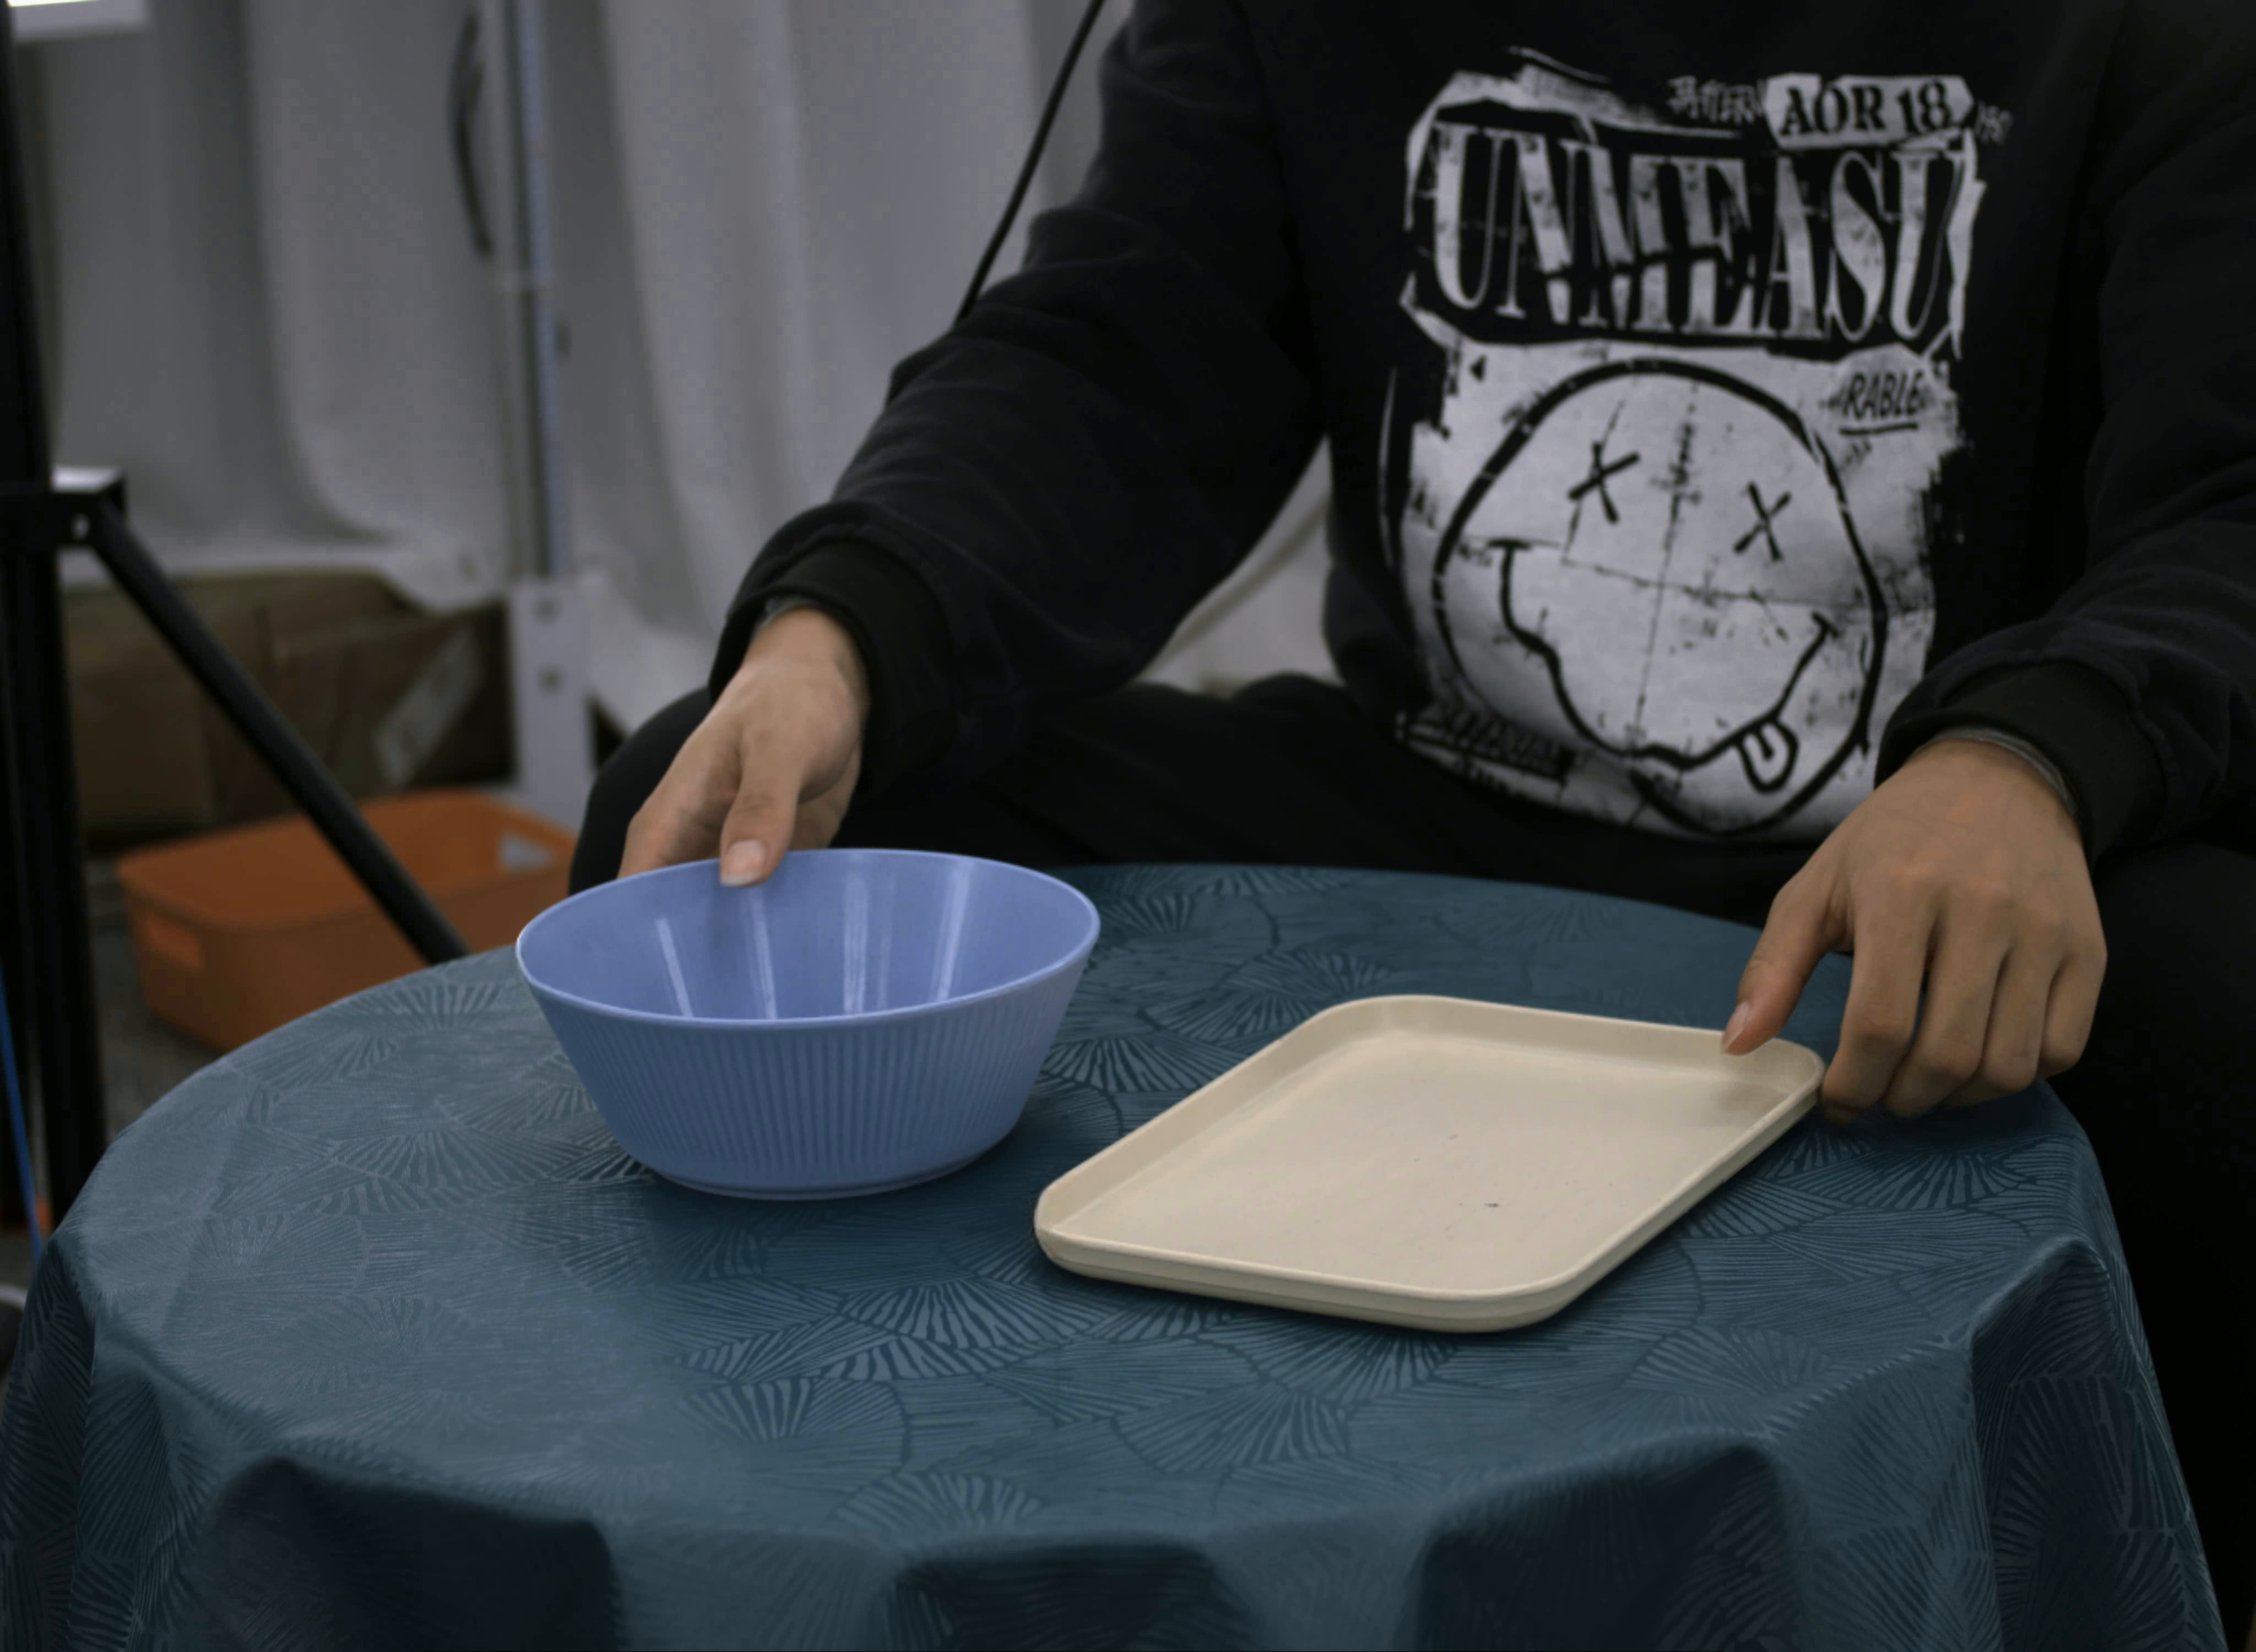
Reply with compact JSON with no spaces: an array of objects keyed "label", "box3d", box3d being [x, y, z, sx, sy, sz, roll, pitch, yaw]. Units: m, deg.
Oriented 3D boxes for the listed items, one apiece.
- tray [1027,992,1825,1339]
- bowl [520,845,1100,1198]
[{"label":"tray","box3d":[0.091,0.098,1.547,0.174,0.017,0.235,7,18,29]},{"label":"bowl","box3d":[-0.095,0.061,1.609,0.175,0.070,0.177,-3,16,-1]}]
